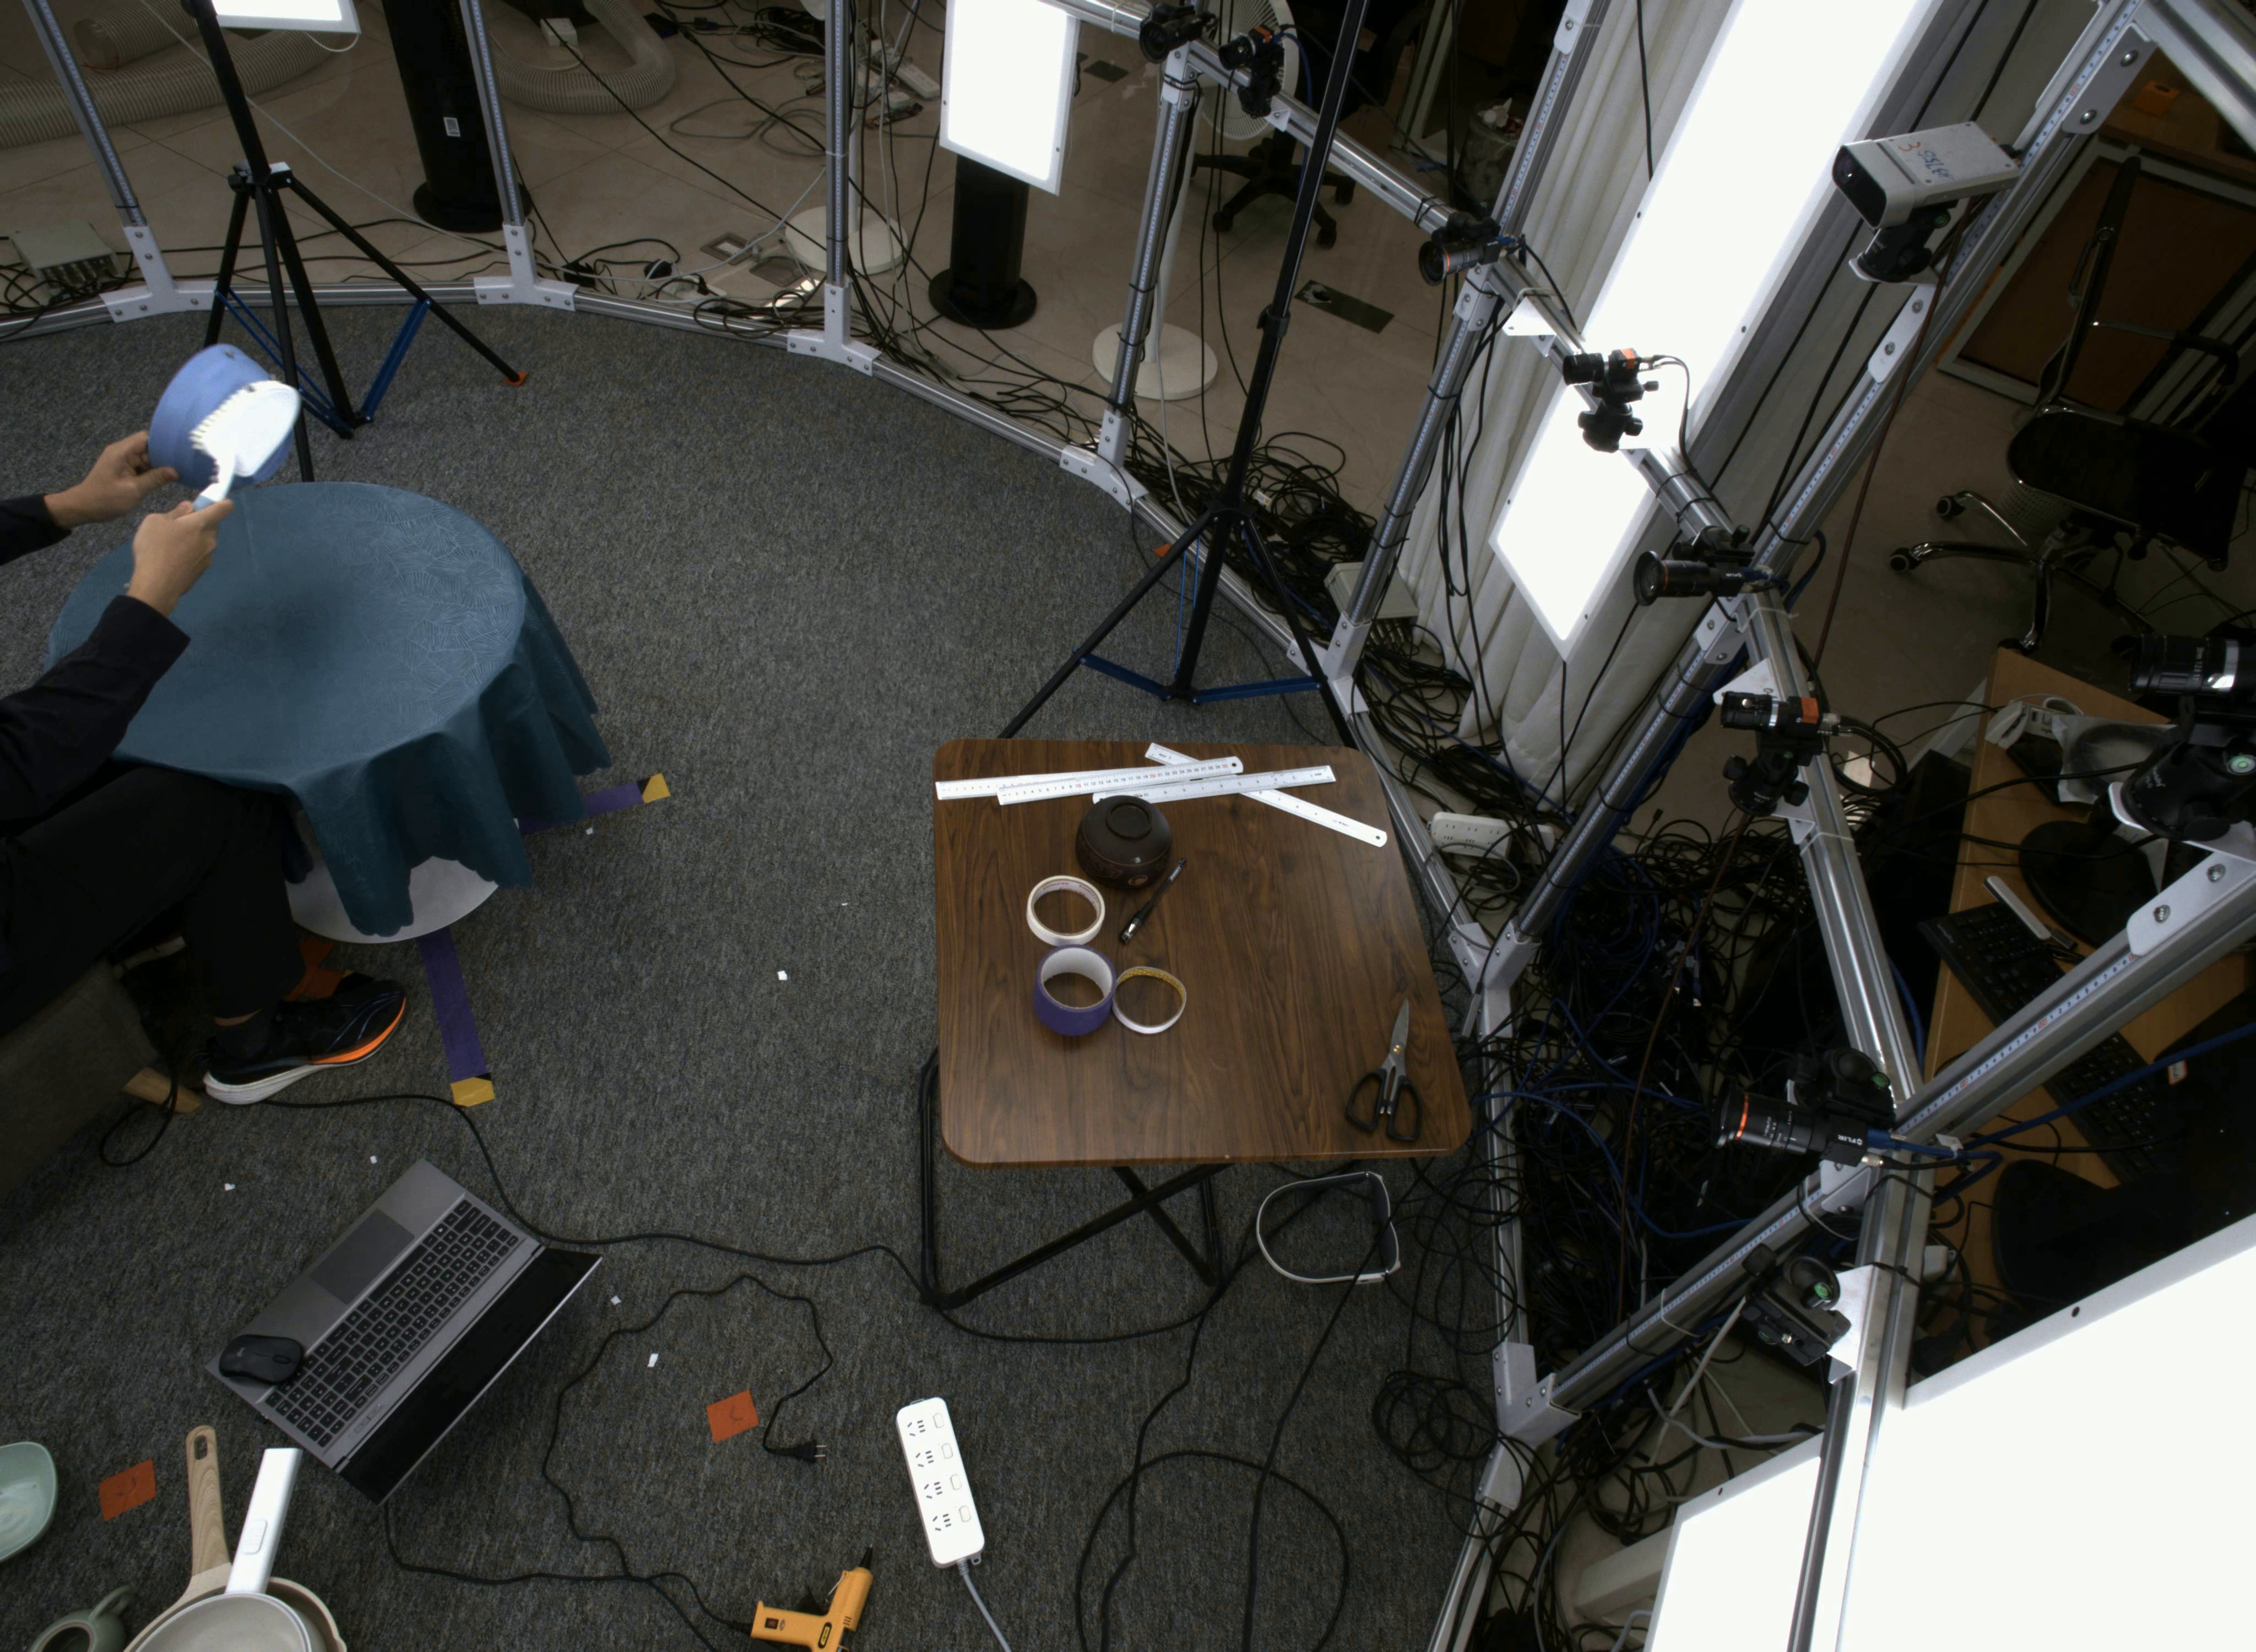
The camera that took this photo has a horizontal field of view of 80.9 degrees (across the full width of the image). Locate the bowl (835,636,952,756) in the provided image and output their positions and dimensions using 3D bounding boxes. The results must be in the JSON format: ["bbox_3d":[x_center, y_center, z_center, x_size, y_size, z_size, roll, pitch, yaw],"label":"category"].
[{"bbox_3d":[-0.348,-0.184,2.018,0.199,0.200,0.092,-17,50,-42],"label":"bowl"}]

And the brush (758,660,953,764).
[{"bbox_3d":[-0.401,-0.168,1.885,0.326,0.086,0.081,-30,68,-29],"label":"brush"}]
